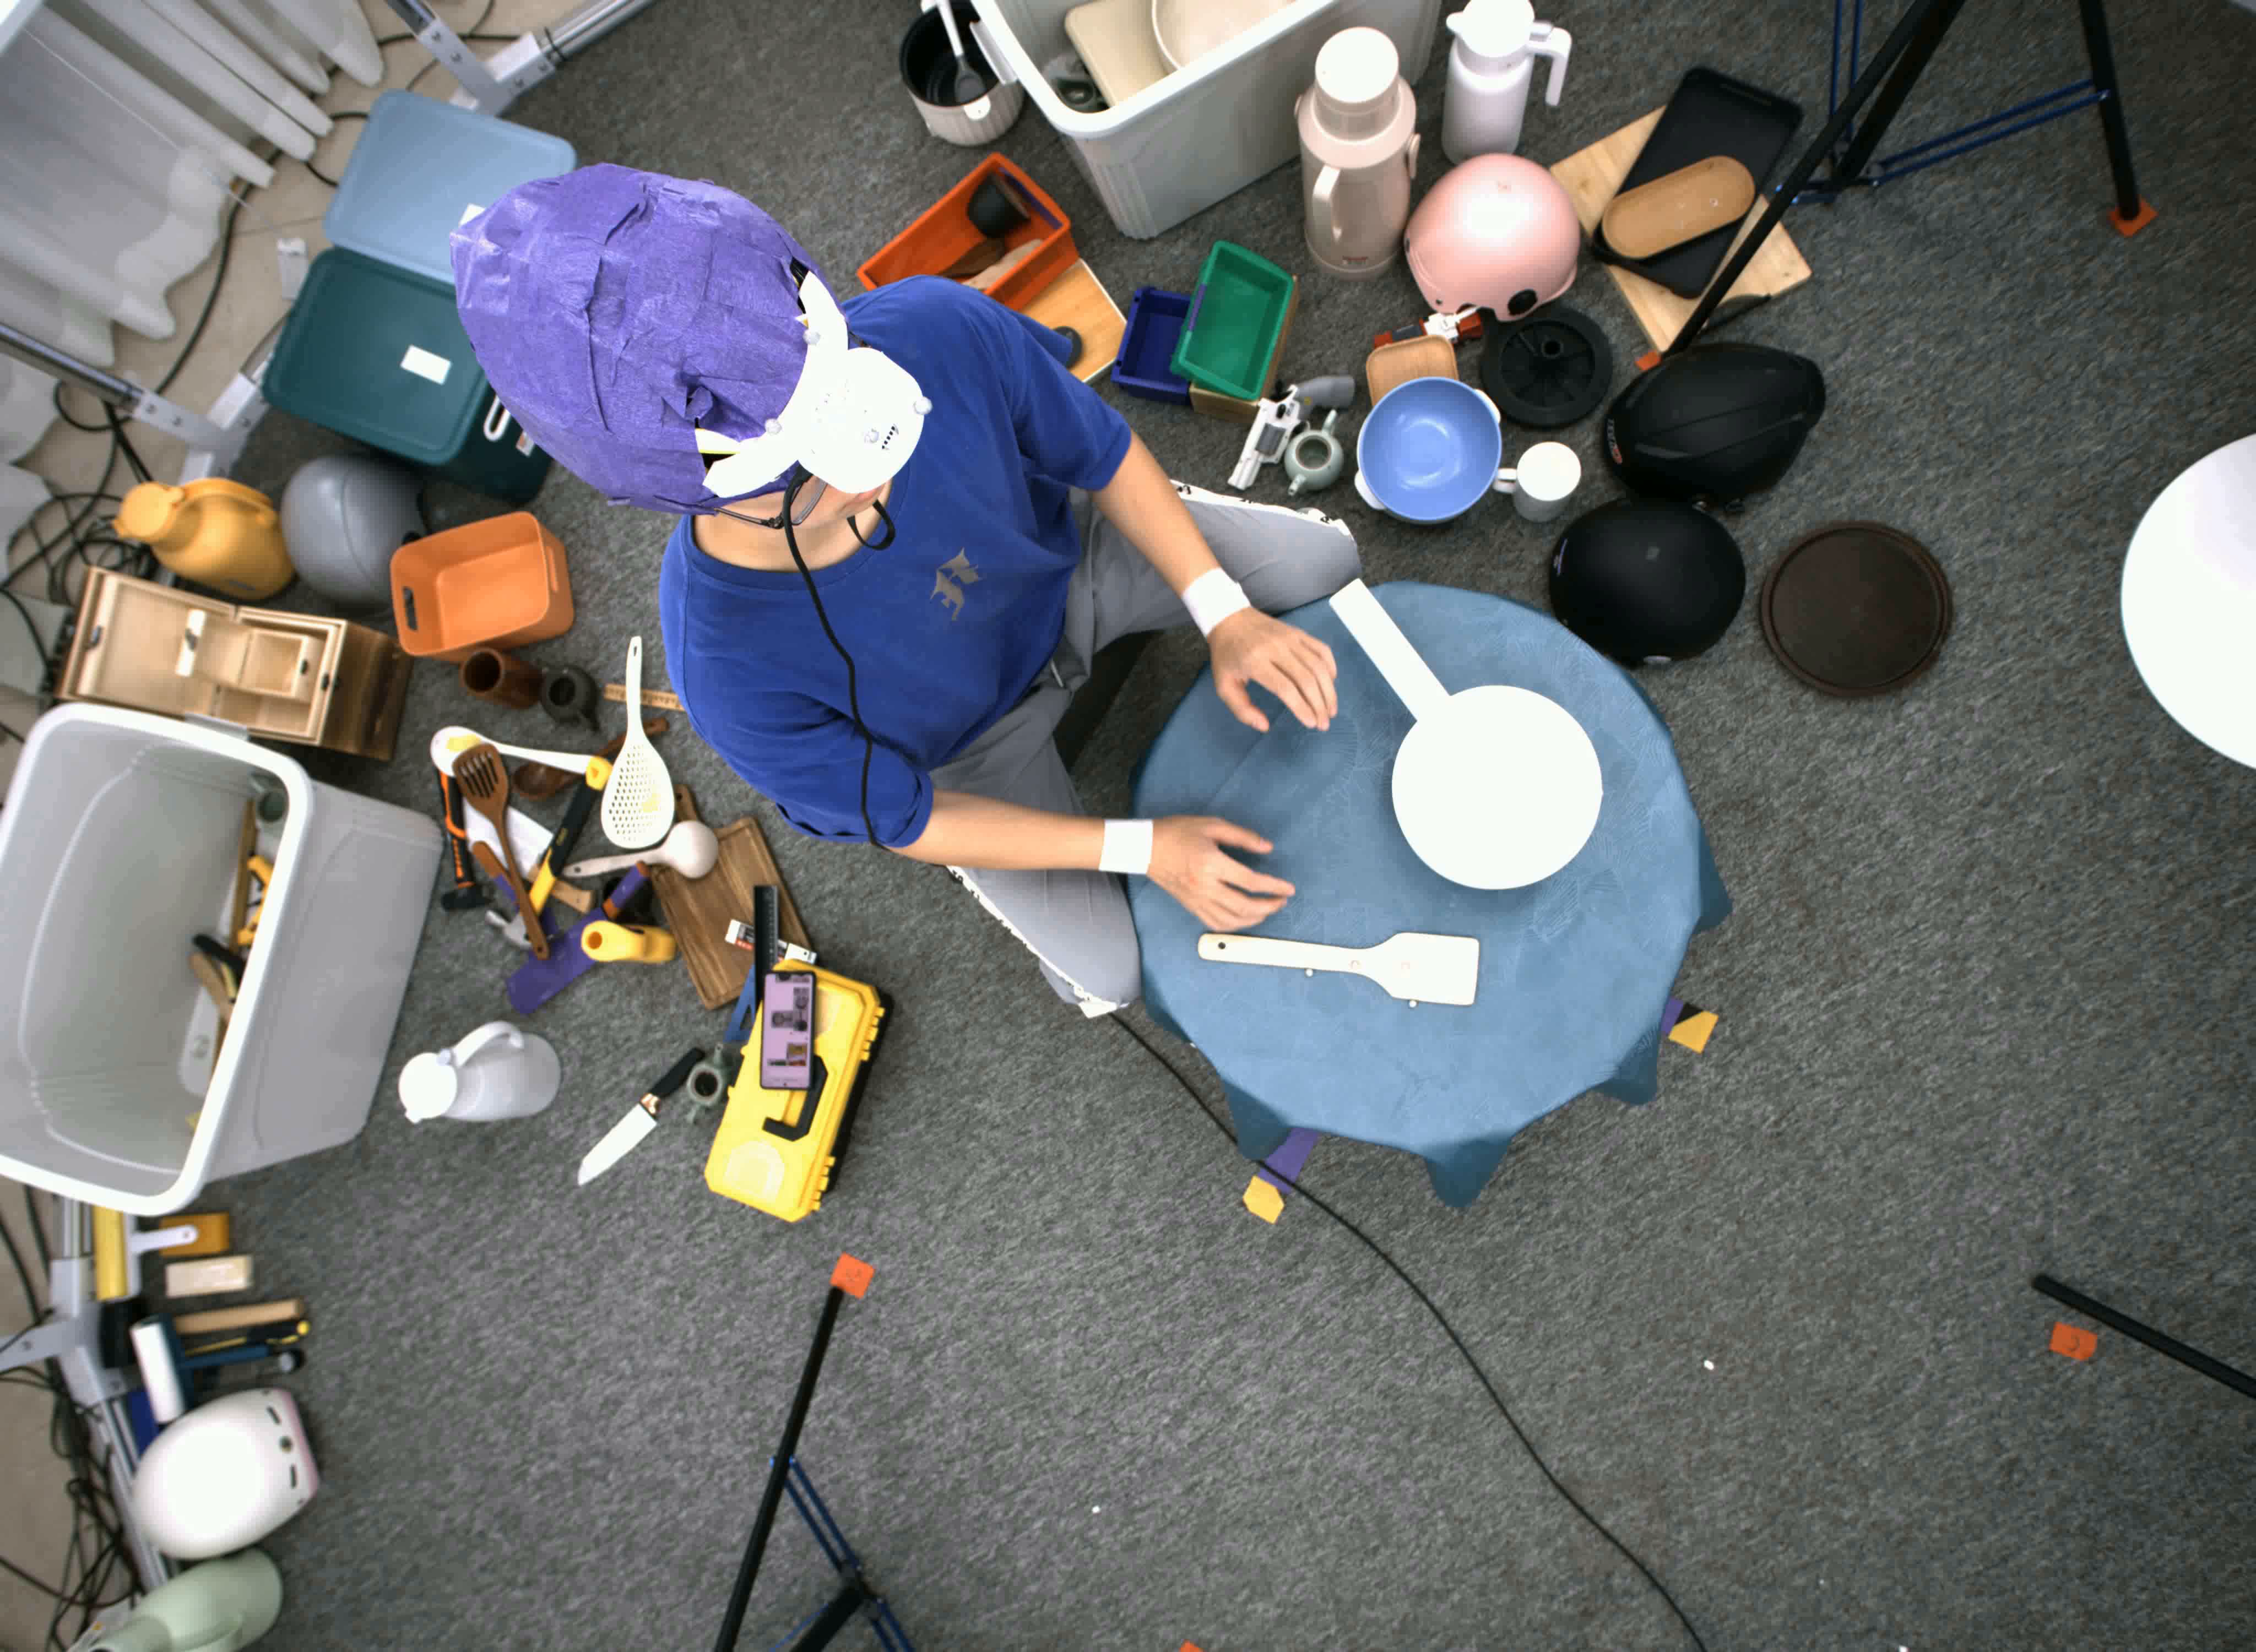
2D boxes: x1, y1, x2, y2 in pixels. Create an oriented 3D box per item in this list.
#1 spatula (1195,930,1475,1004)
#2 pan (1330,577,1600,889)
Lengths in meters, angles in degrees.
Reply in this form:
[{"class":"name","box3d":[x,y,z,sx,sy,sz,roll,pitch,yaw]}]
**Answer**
[{"class":"spatula","box3d":[0.215,0.138,1.460,0.294,0.010,0.072,5,89,11]},{"class":"pan","box3d":[0.327,-0.098,1.407,0.202,0.102,0.353,-37,81,9]}]
